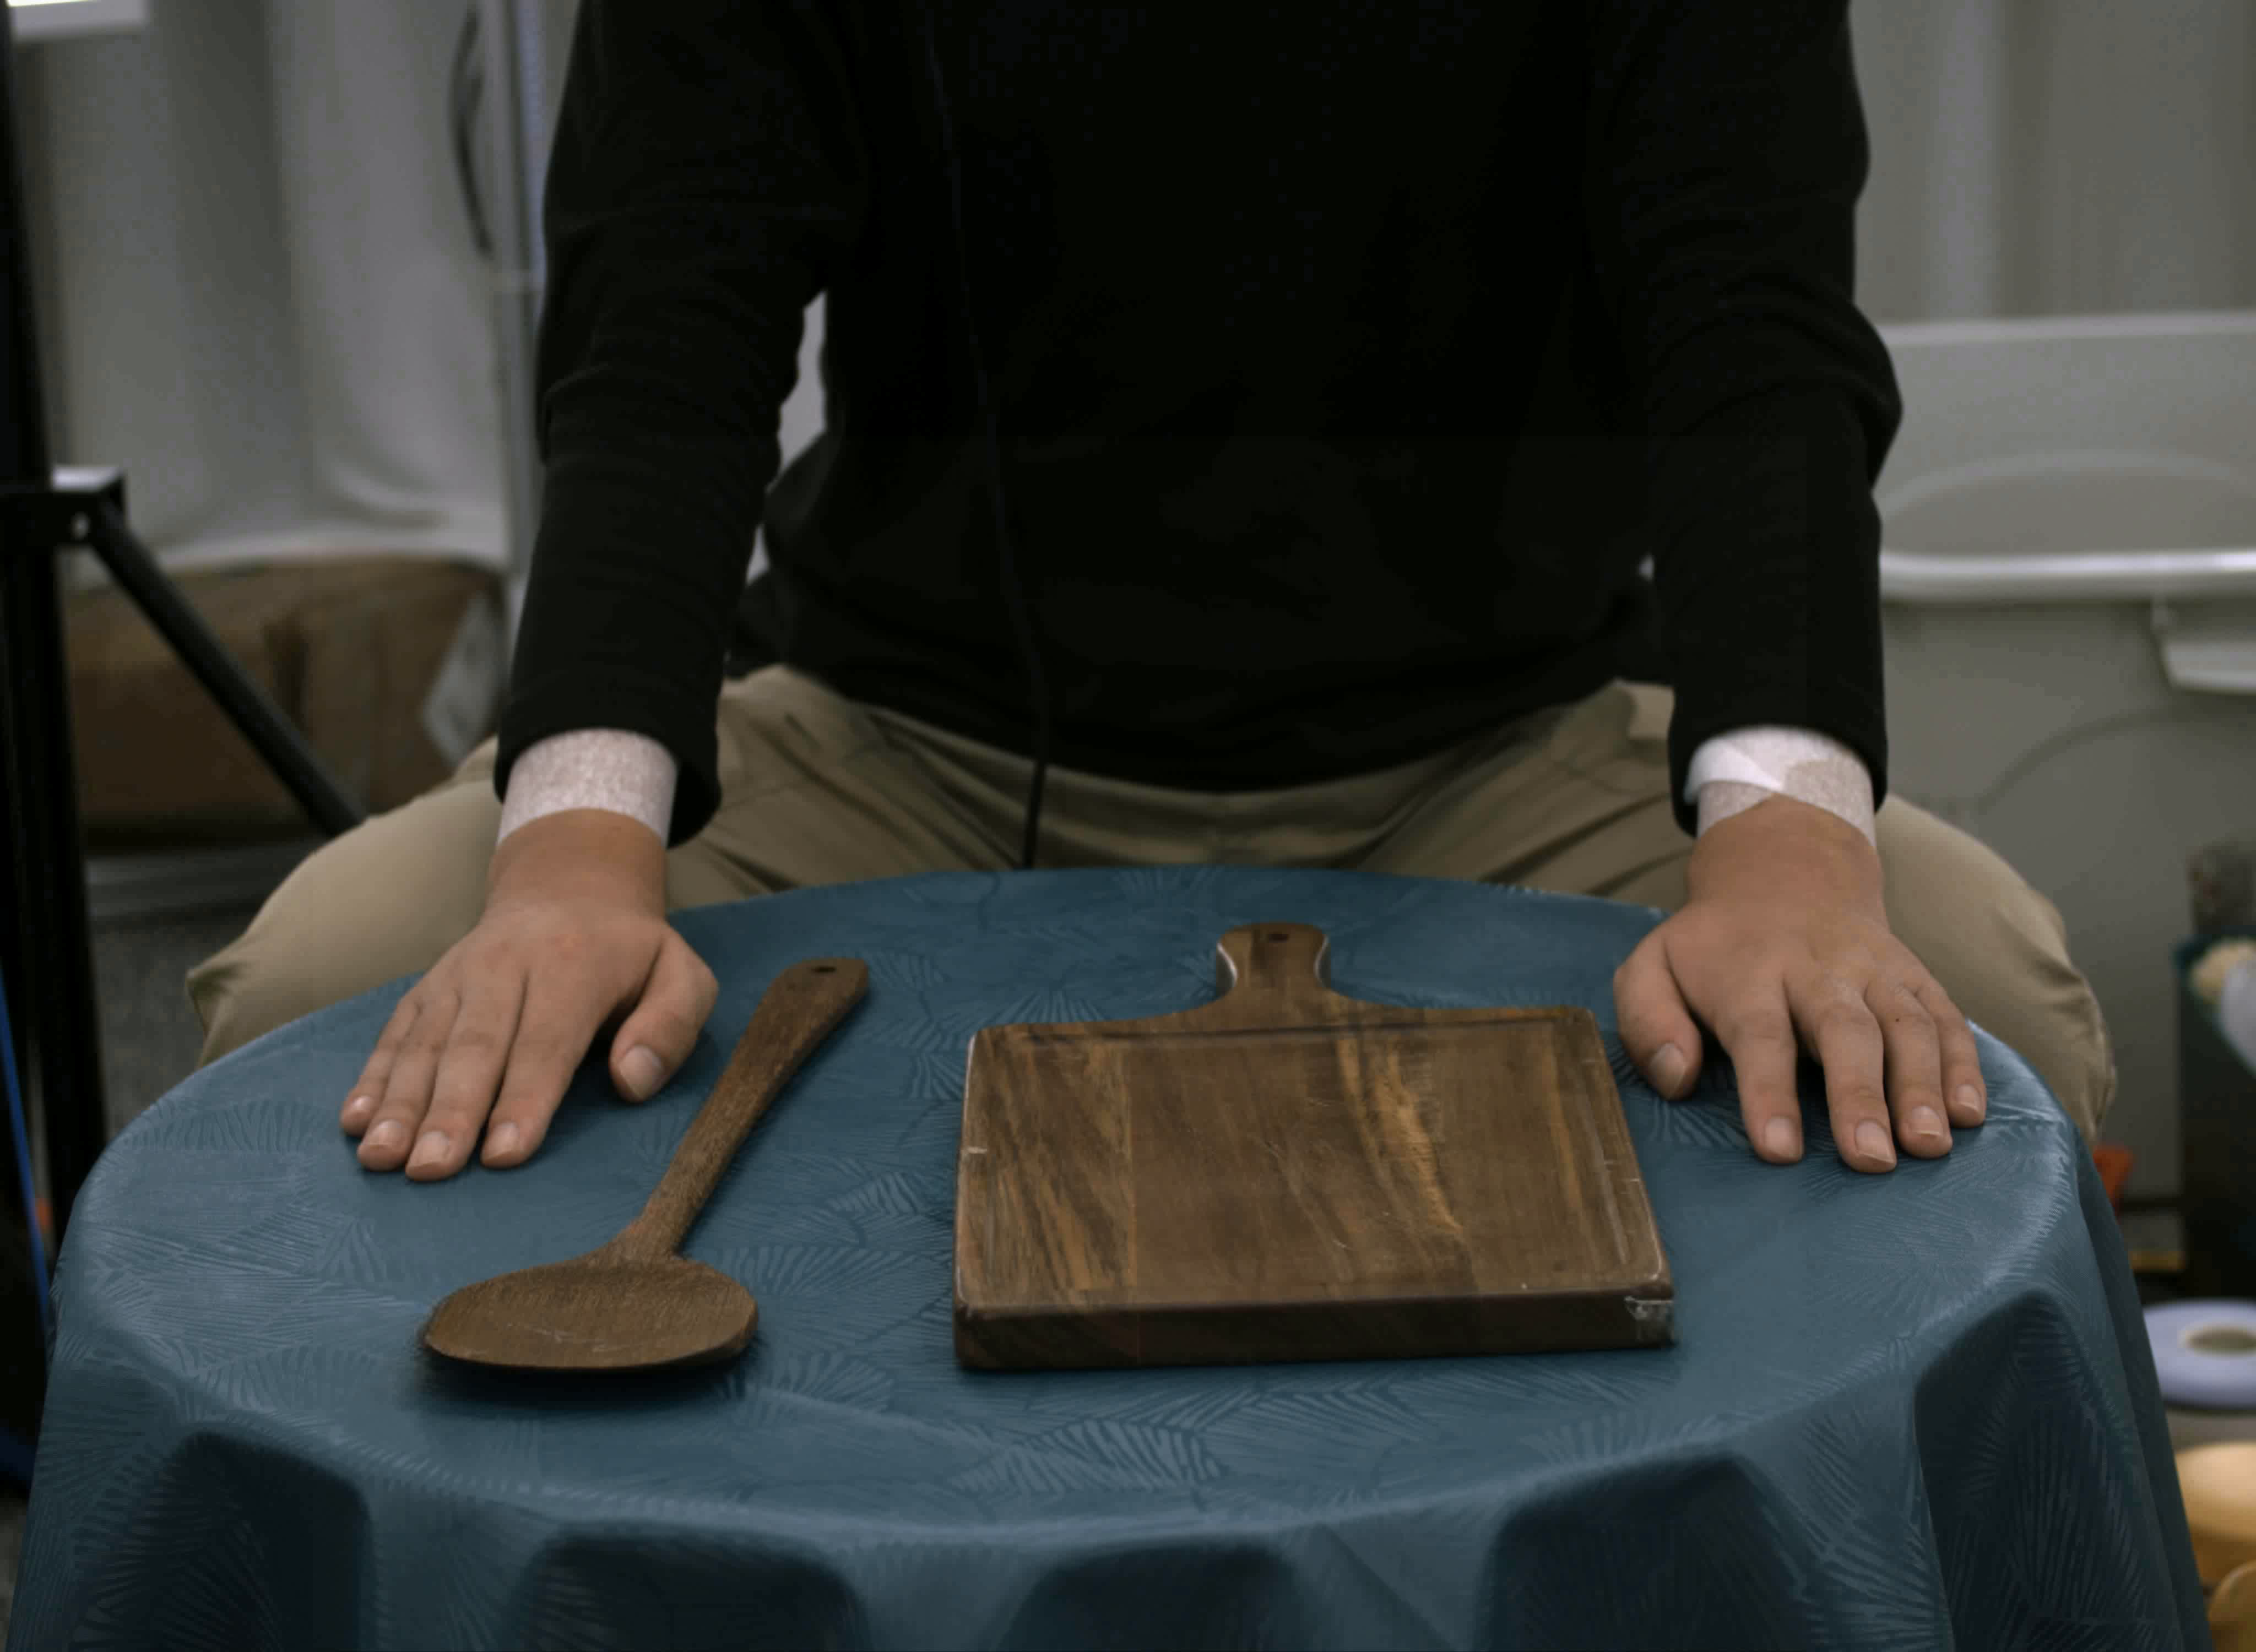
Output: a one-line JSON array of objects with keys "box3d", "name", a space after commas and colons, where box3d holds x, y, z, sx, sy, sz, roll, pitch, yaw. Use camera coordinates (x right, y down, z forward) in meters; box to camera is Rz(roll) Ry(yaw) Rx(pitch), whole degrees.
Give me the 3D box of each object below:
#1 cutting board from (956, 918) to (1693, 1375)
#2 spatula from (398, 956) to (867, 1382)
[{"box3d": [0.049, 0.088, 1.583, 0.200, 0.023, 0.353, -2, 16, 0], "name": "cutting board"}, {"box3d": [-0.126, 0.096, 1.594, 0.096, 0.016, 0.384, 0, 16, 9], "name": "spatula"}]
